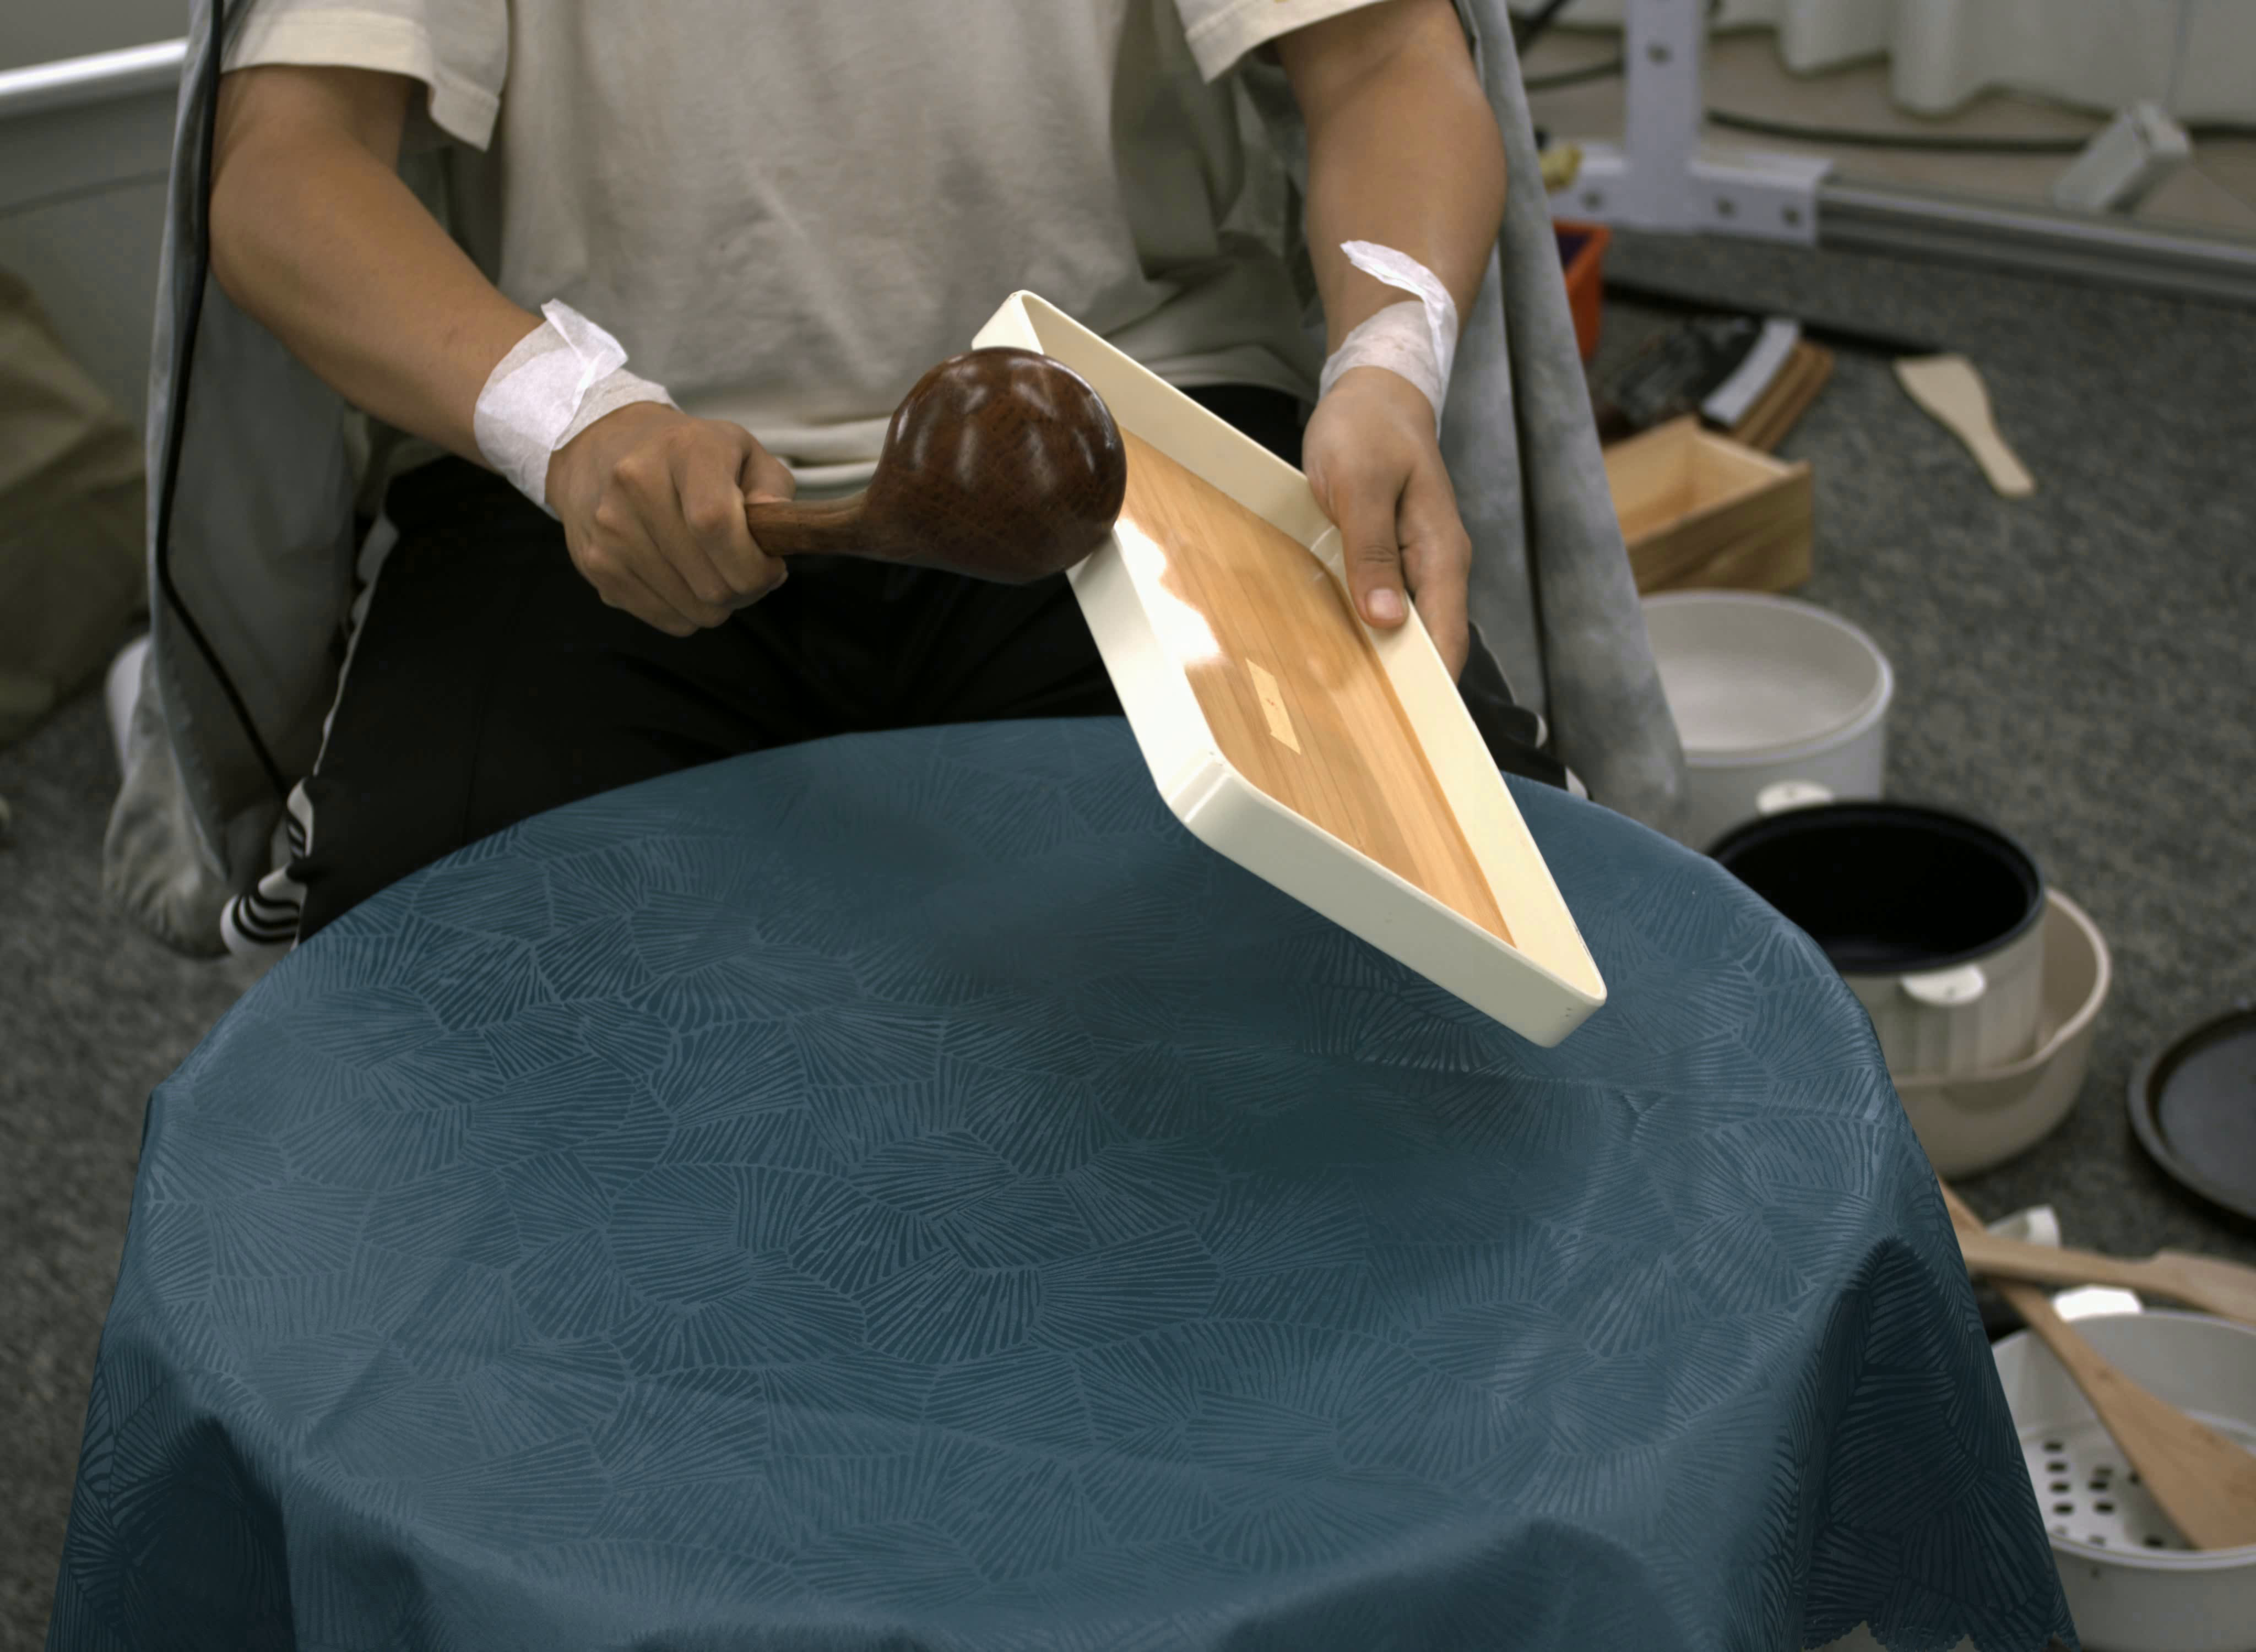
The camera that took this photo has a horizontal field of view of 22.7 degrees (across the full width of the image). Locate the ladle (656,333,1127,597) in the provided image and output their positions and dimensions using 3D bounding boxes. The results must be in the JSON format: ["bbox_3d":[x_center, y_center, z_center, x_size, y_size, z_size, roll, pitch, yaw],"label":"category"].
[{"bbox_3d":[-0.085,-0.117,1.943,0.077,0.082,0.272,-30,11,-22],"label":"ladle"}]

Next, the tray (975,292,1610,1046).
[{"bbox_3d":[0.052,-0.057,1.925,0.190,0.027,0.304,31,22,-33],"label":"tray"}]
